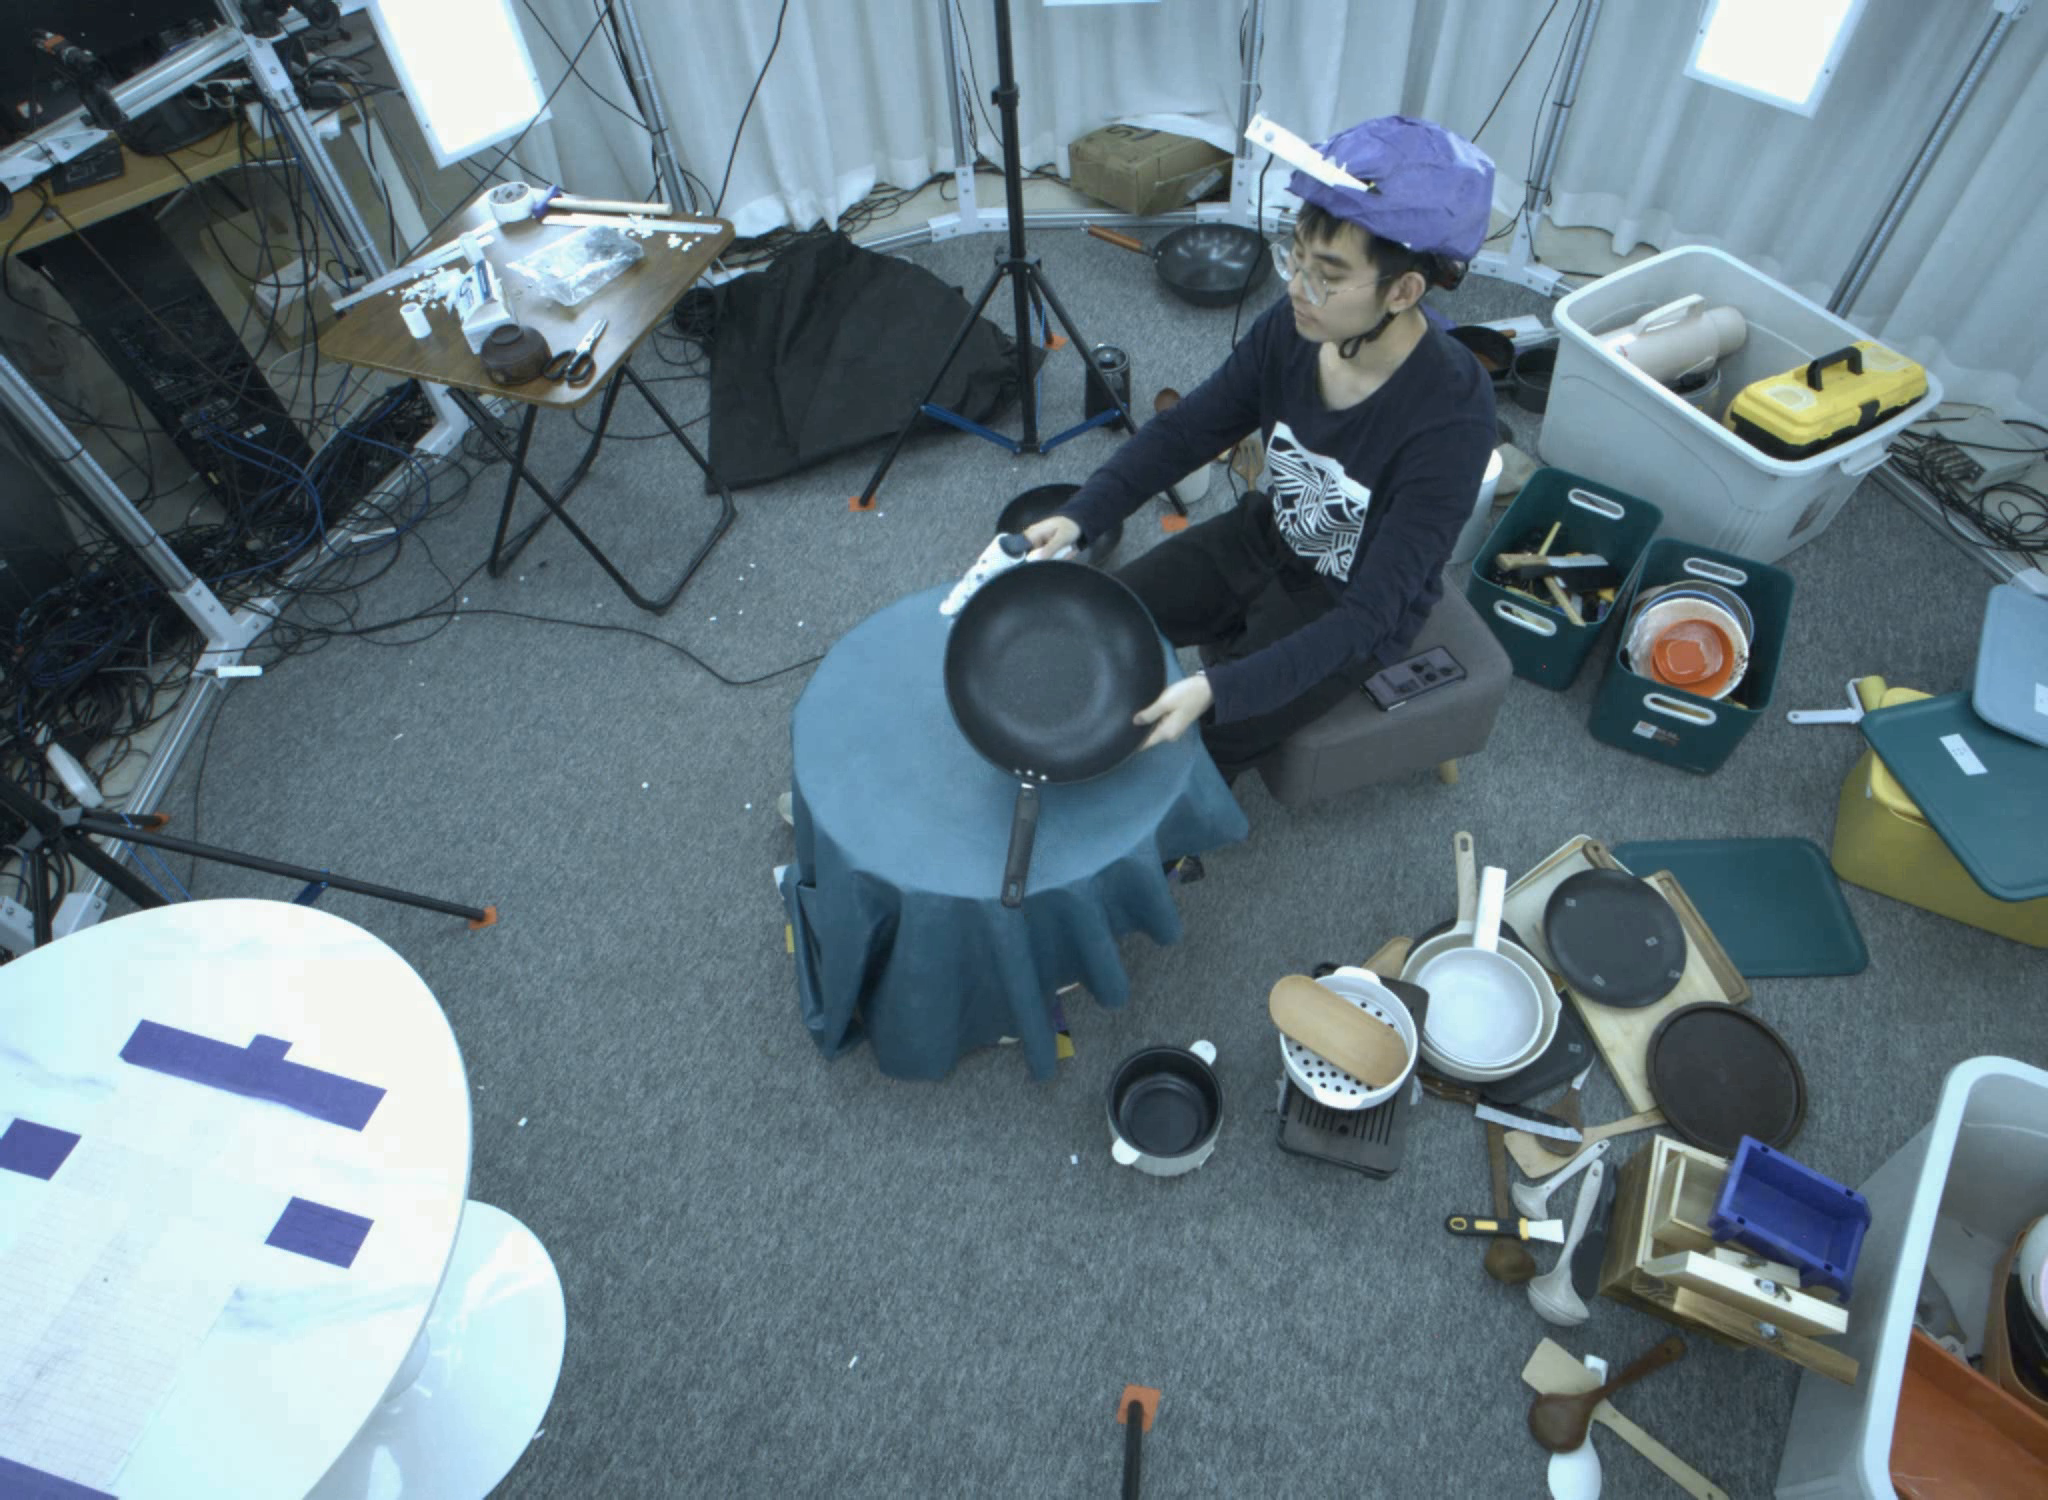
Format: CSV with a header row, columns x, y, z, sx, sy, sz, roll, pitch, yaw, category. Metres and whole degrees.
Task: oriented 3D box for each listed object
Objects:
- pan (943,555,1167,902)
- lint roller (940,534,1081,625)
x,y,z,sx,sy,sz,roll,pitch,yaw,category
0.023,-0.028,1.689,0.313,0.111,0.476,13,85,-10,pan
-0.001,-0.271,1.790,0.050,0.174,0.250,53,43,5,lint roller
